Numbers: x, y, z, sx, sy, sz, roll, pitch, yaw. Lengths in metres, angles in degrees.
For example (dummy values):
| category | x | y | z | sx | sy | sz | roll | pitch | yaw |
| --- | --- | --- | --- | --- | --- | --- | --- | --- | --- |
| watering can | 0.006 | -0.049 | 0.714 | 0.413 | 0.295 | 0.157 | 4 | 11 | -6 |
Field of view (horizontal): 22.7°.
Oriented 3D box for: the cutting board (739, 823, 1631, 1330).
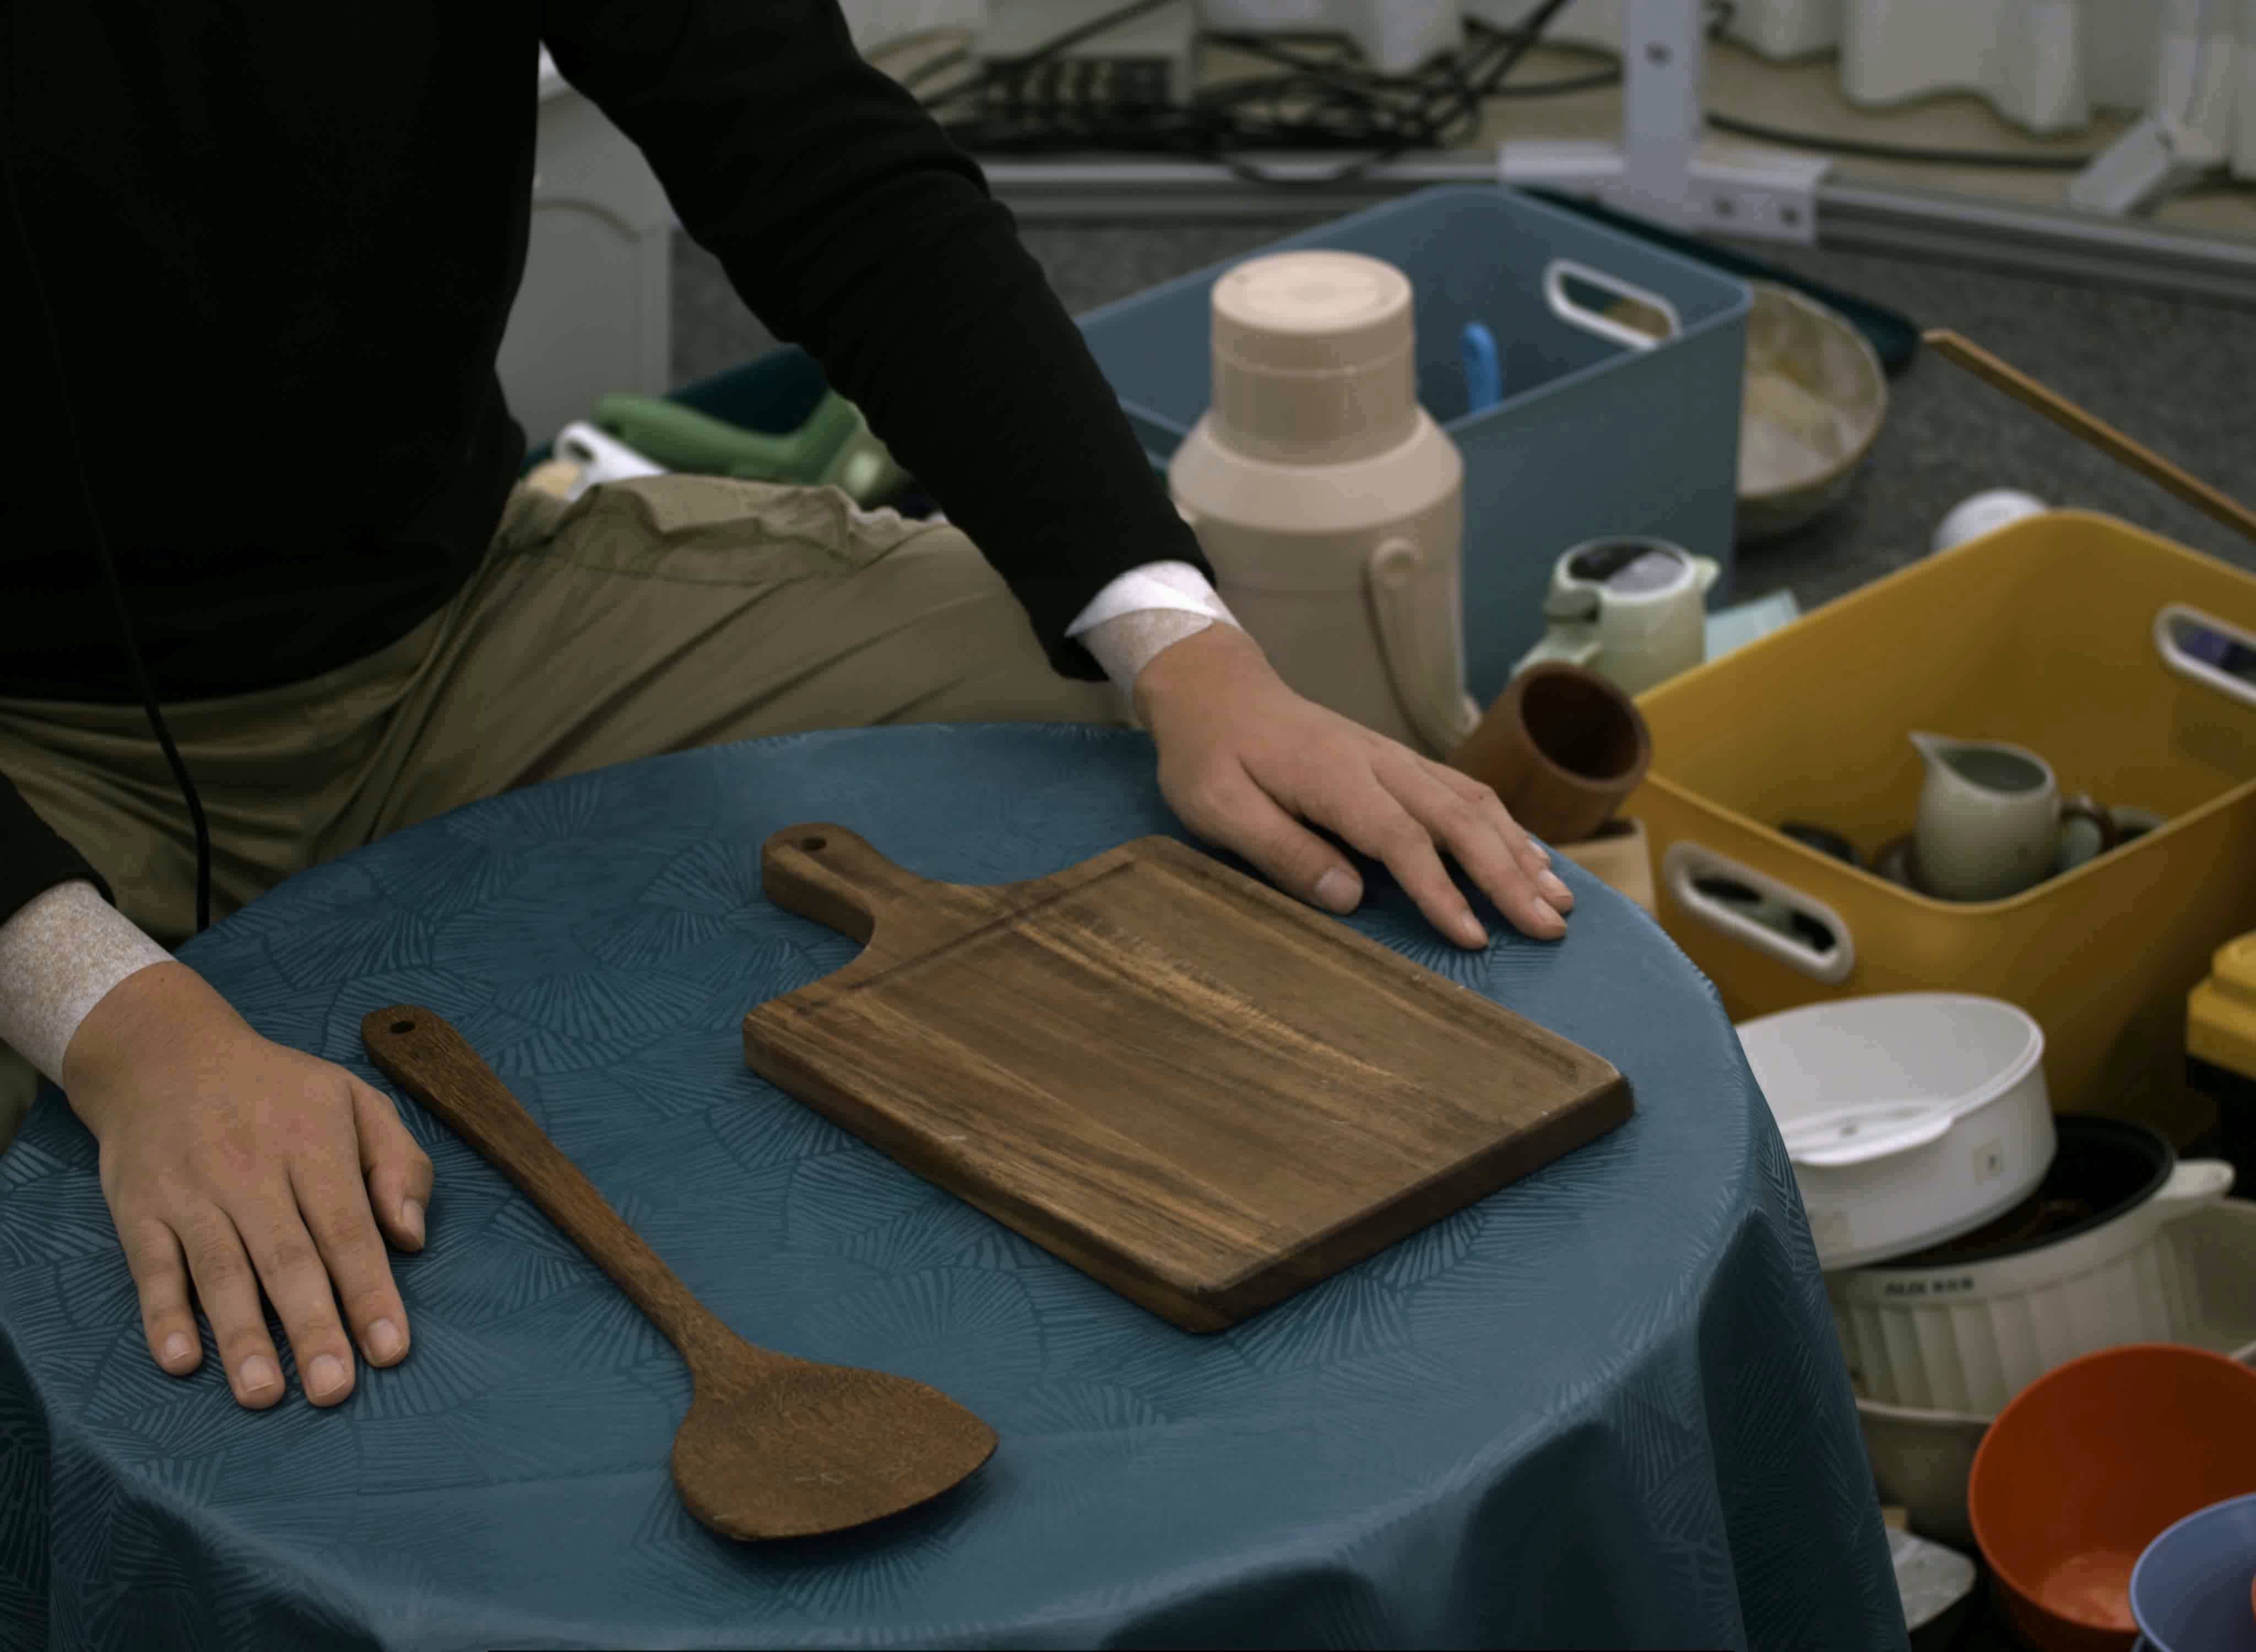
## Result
| category | x | y | z | sx | sy | sz | roll | pitch | yaw |
| --- | --- | --- | --- | --- | --- | --- | --- | --- | --- |
| cutting board | -0.015 | 0.066 | 1.948 | 0.203 | 0.023 | 0.352 | -23 | 33 | -35 |

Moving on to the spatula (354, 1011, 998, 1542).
| category | x | y | z | sx | sy | sz | roll | pitch | yaw |
| --- | --- | --- | --- | --- | --- | --- | --- | --- | --- |
| spatula | -0.168 | 0.137 | 1.831 | 0.097 | 0.015 | 0.387 | -17 | 30 | -26 |
